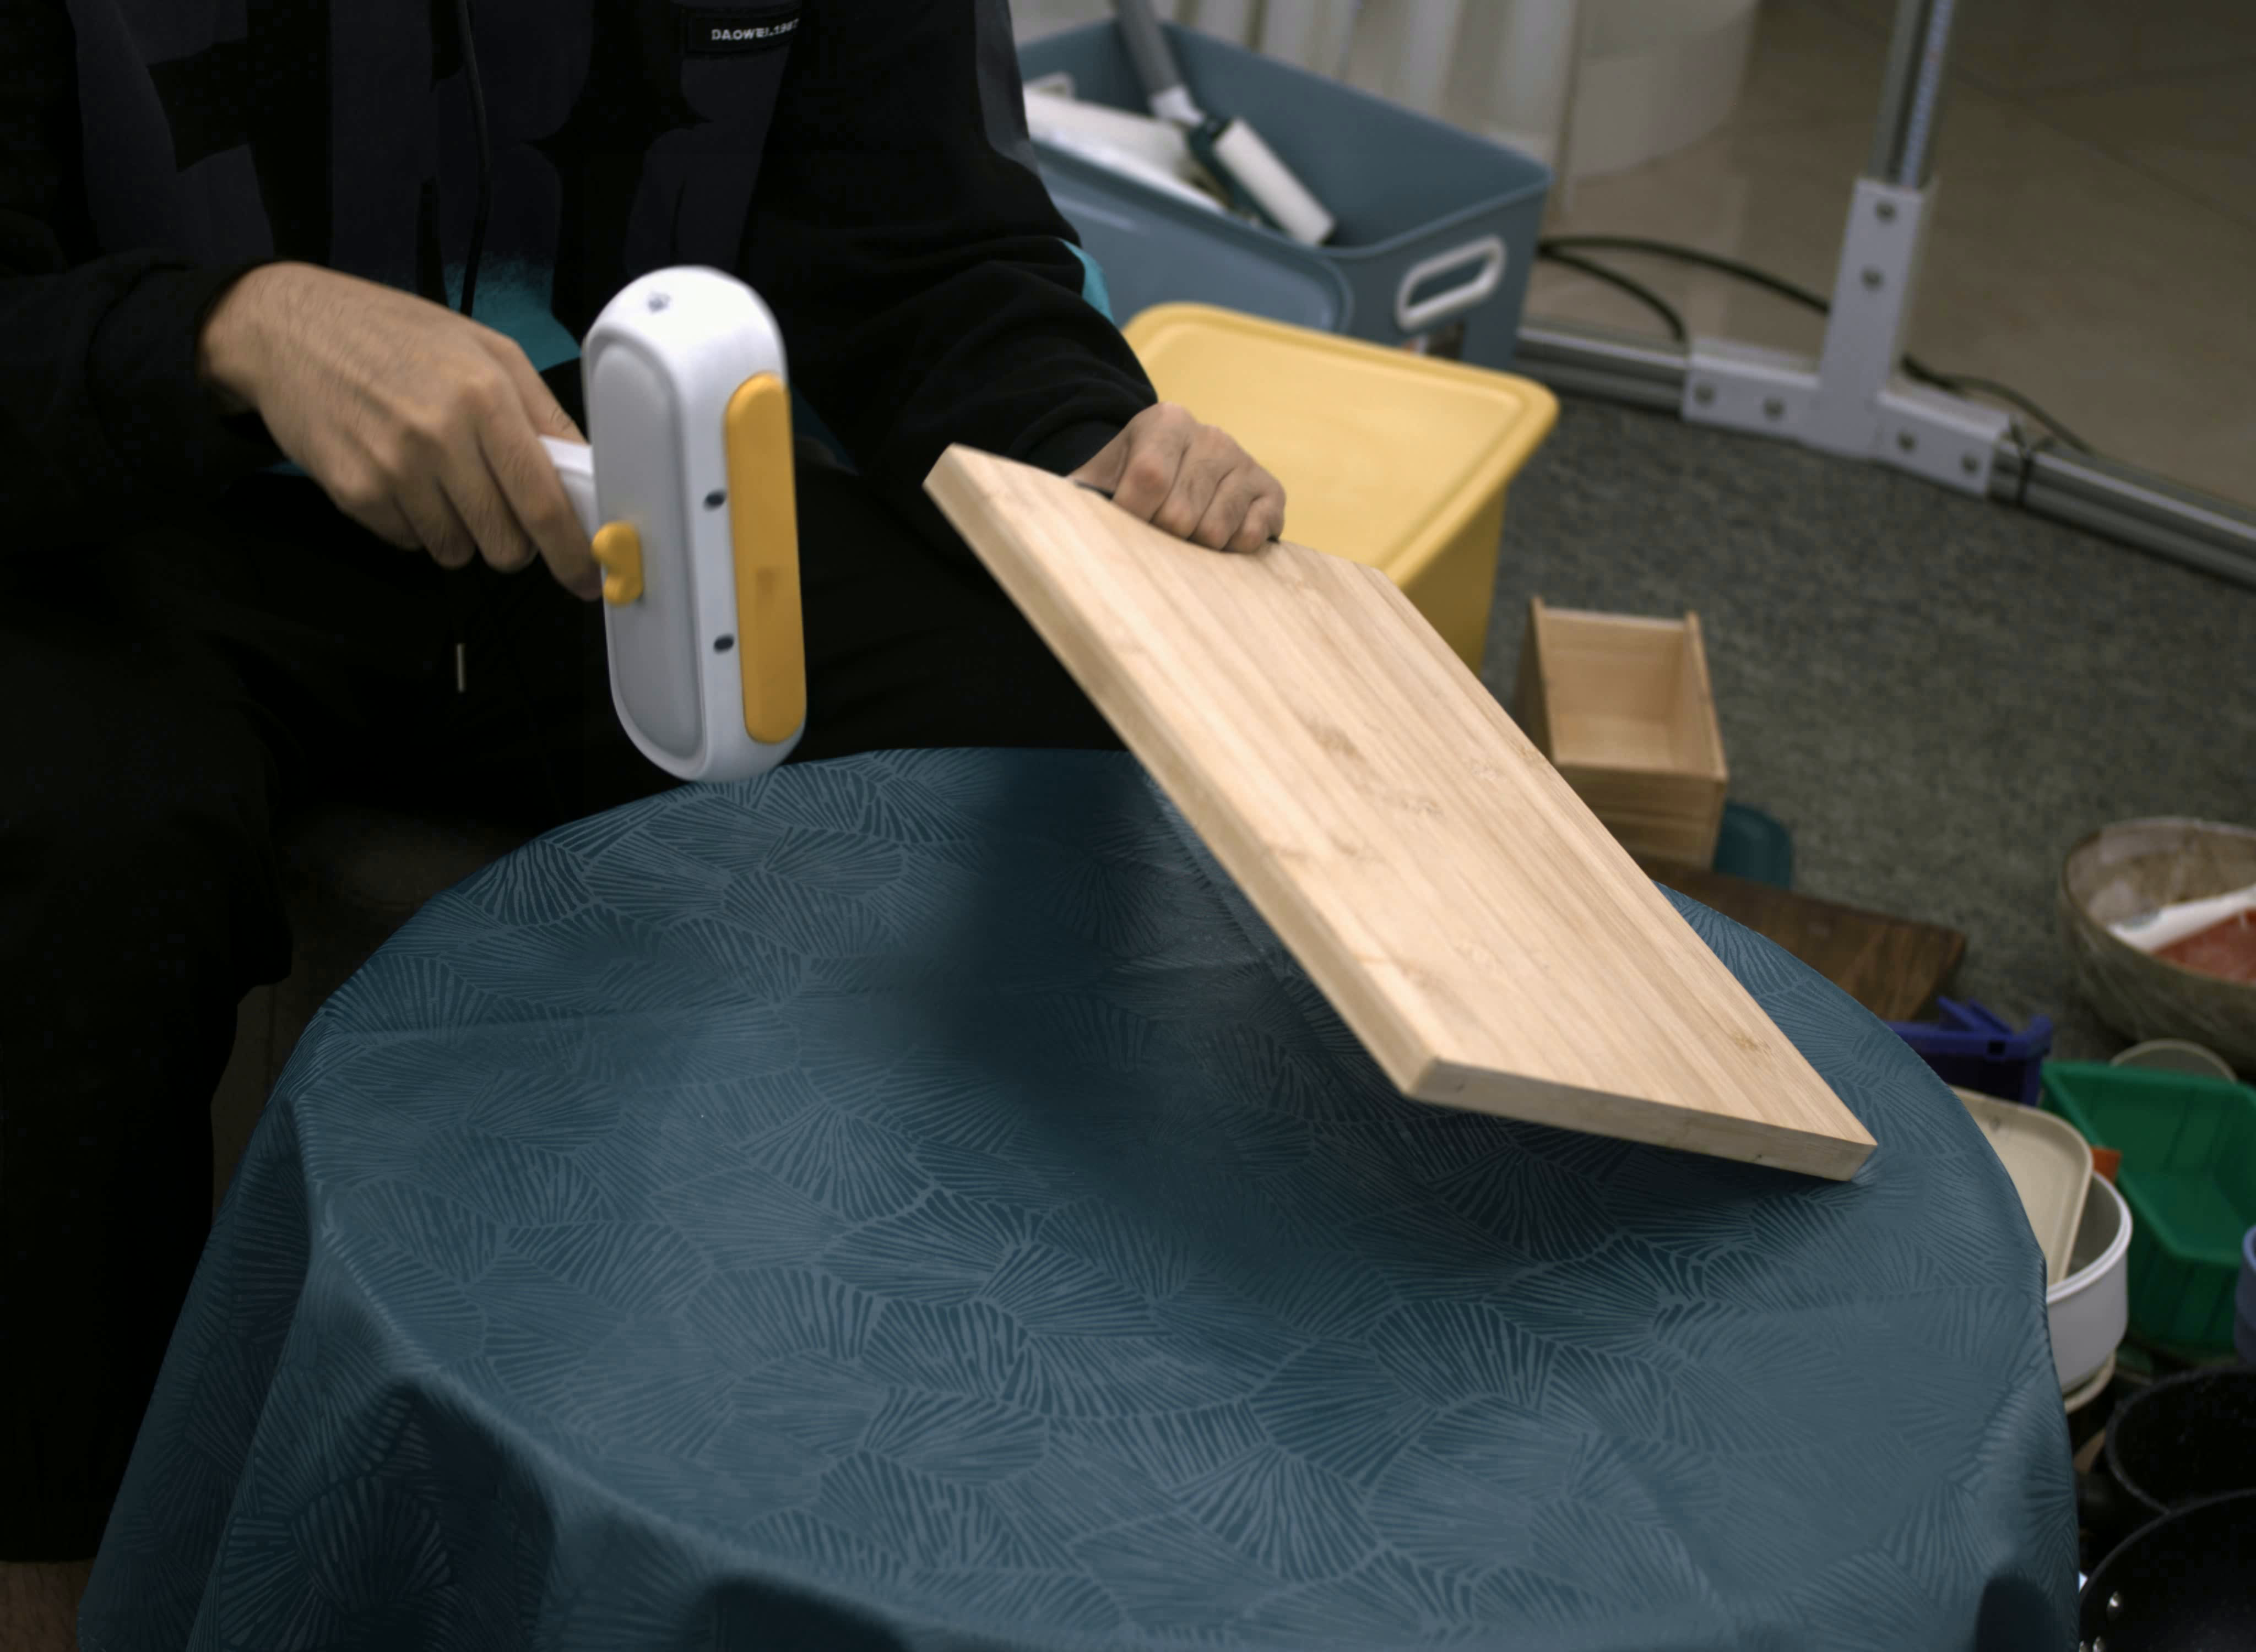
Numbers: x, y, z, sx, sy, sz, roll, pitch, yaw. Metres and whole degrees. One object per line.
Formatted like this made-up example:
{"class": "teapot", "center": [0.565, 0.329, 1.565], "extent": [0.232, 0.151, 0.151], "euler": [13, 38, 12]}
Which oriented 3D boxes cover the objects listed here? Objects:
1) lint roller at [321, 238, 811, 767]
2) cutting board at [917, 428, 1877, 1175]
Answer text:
{"class": "lint roller", "center": [-0.200, -0.121, 1.885], "extent": [0.193, 0.192, 0.074], "euler": [17, 39, 34]}
{"class": "cutting board", "center": [0.091, -0.010, 1.881], "extent": [0.248, 0.023, 0.352], "euler": [14, 29, -45]}
